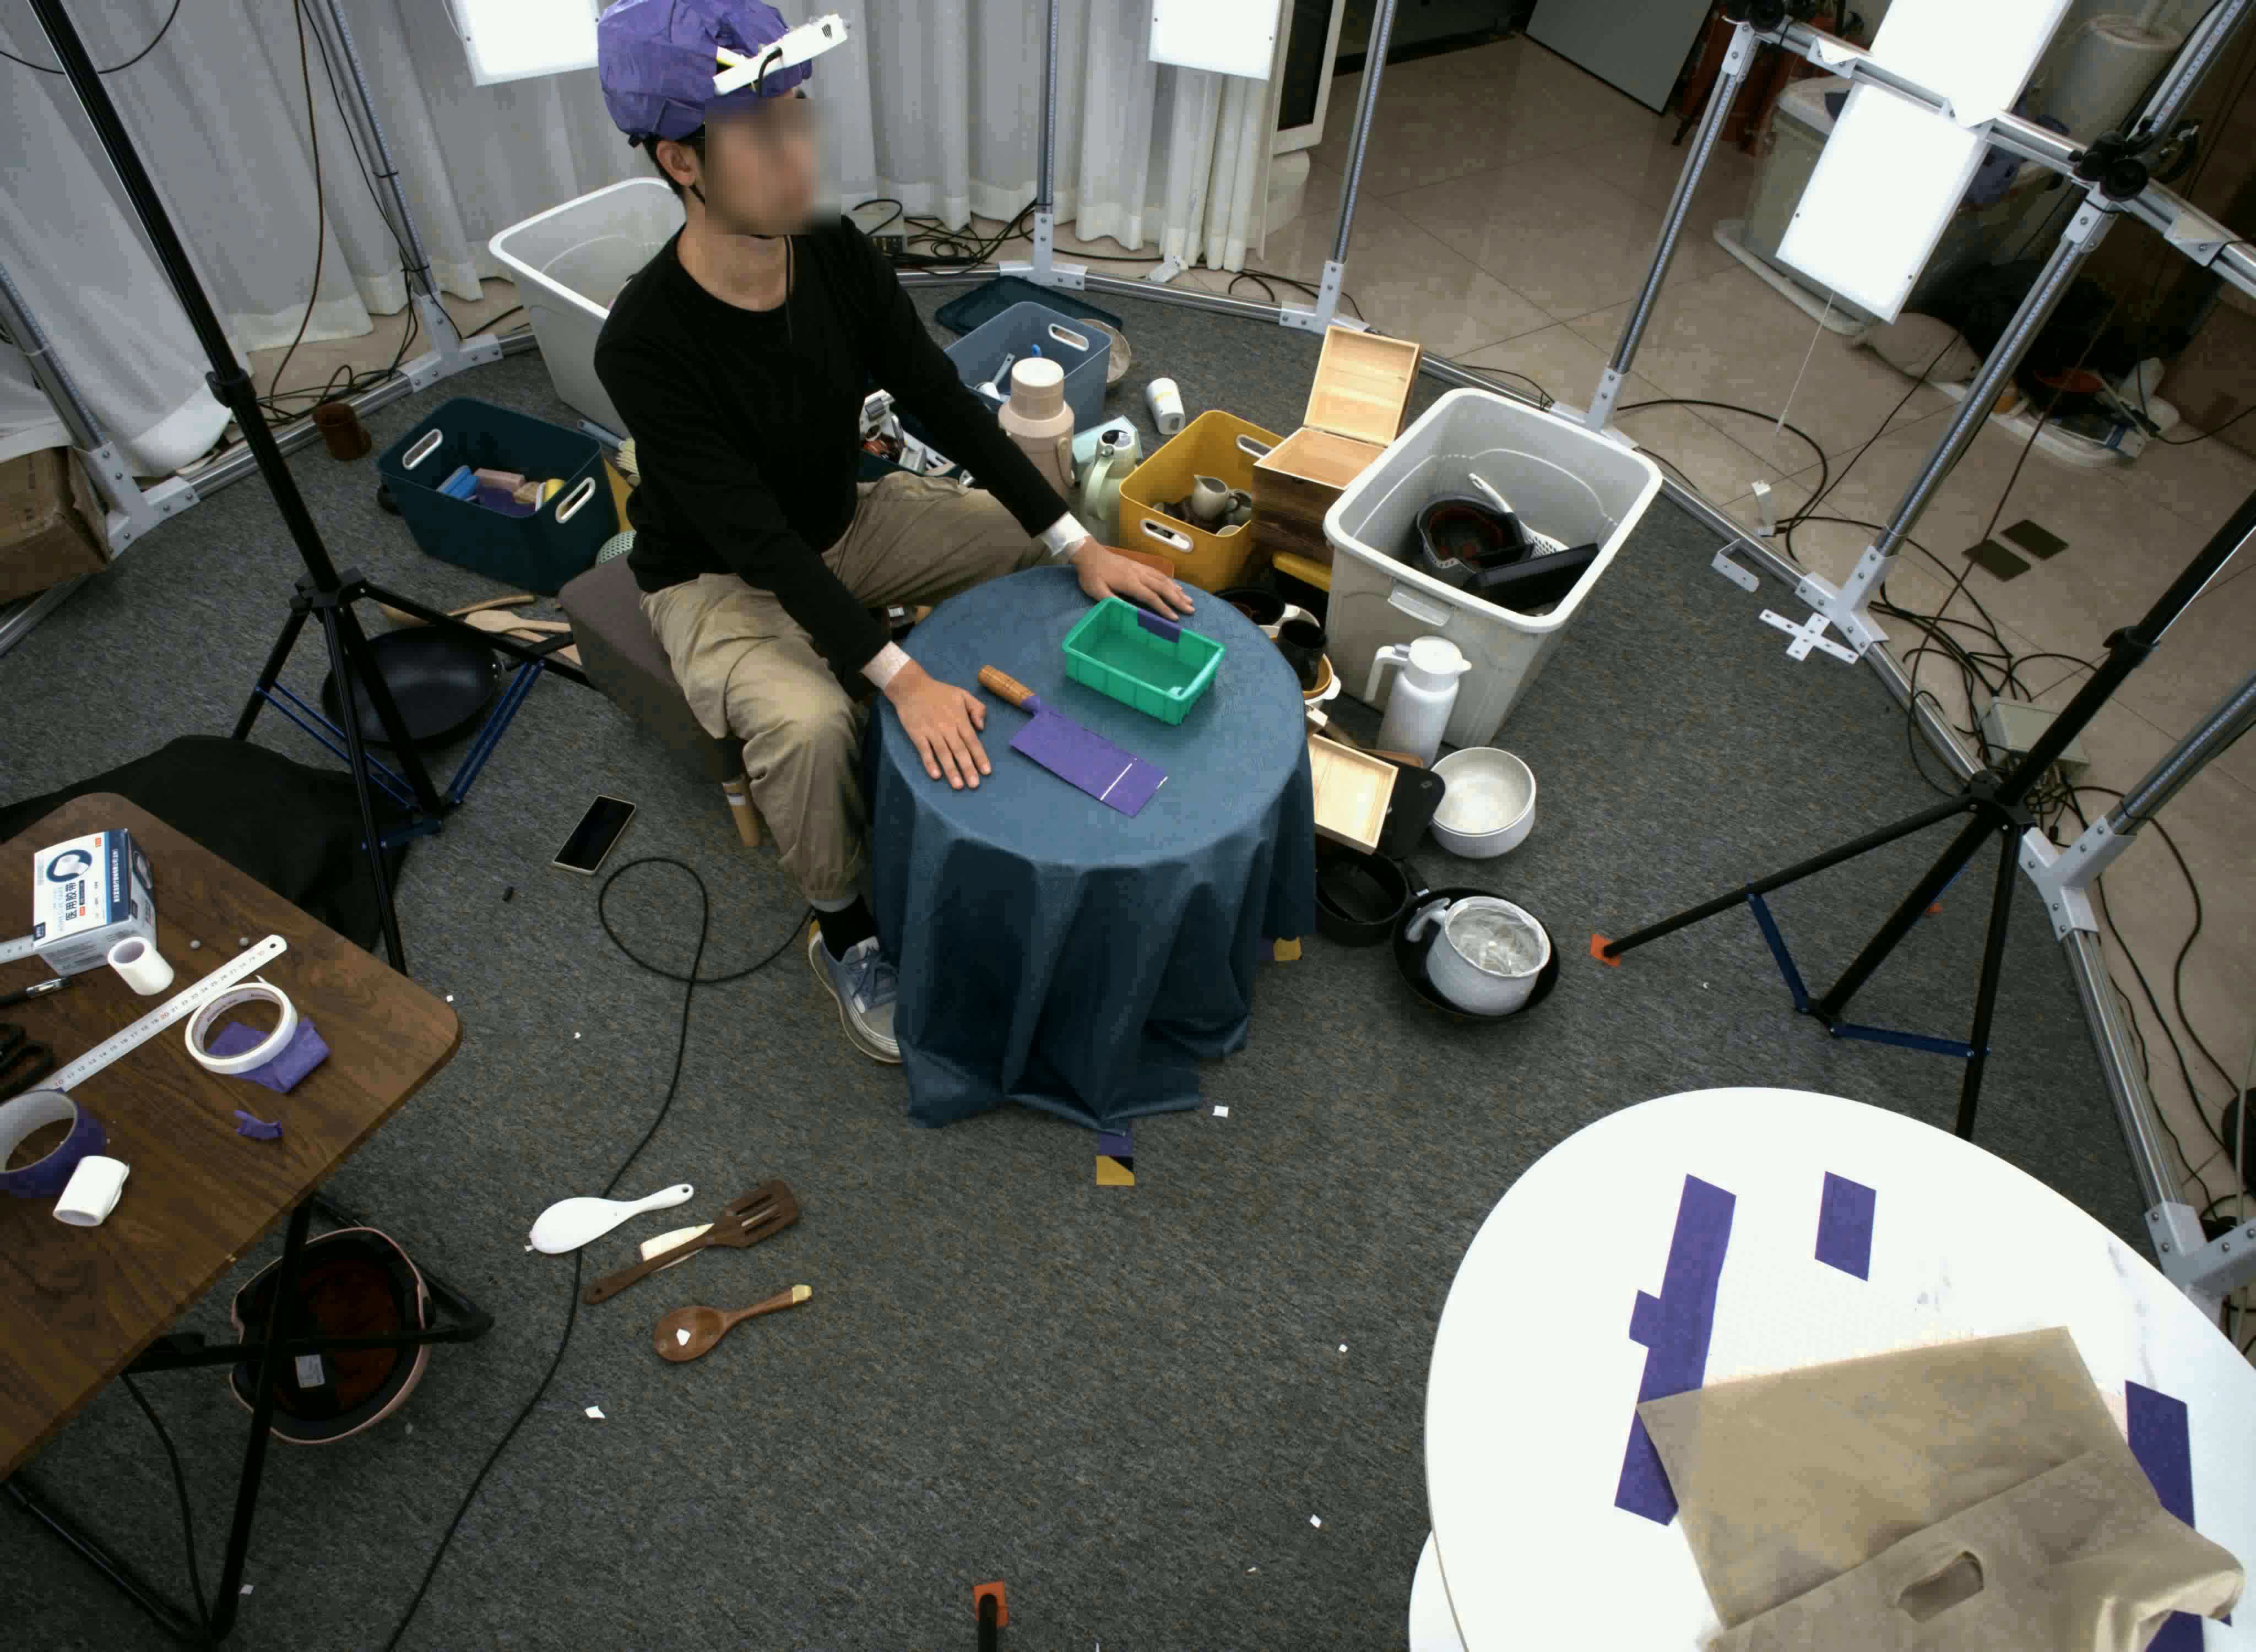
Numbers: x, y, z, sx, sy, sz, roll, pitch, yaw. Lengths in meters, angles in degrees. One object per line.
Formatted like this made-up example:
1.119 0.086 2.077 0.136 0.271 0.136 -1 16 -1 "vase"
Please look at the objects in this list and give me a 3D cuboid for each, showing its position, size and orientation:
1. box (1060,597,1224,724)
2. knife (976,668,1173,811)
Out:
0.019 -0.235 1.835 0.212 0.064 0.141 24 51 18 "box"
-0.094 -0.119 1.750 0.318 0.031 0.105 29 53 19 "knife"
